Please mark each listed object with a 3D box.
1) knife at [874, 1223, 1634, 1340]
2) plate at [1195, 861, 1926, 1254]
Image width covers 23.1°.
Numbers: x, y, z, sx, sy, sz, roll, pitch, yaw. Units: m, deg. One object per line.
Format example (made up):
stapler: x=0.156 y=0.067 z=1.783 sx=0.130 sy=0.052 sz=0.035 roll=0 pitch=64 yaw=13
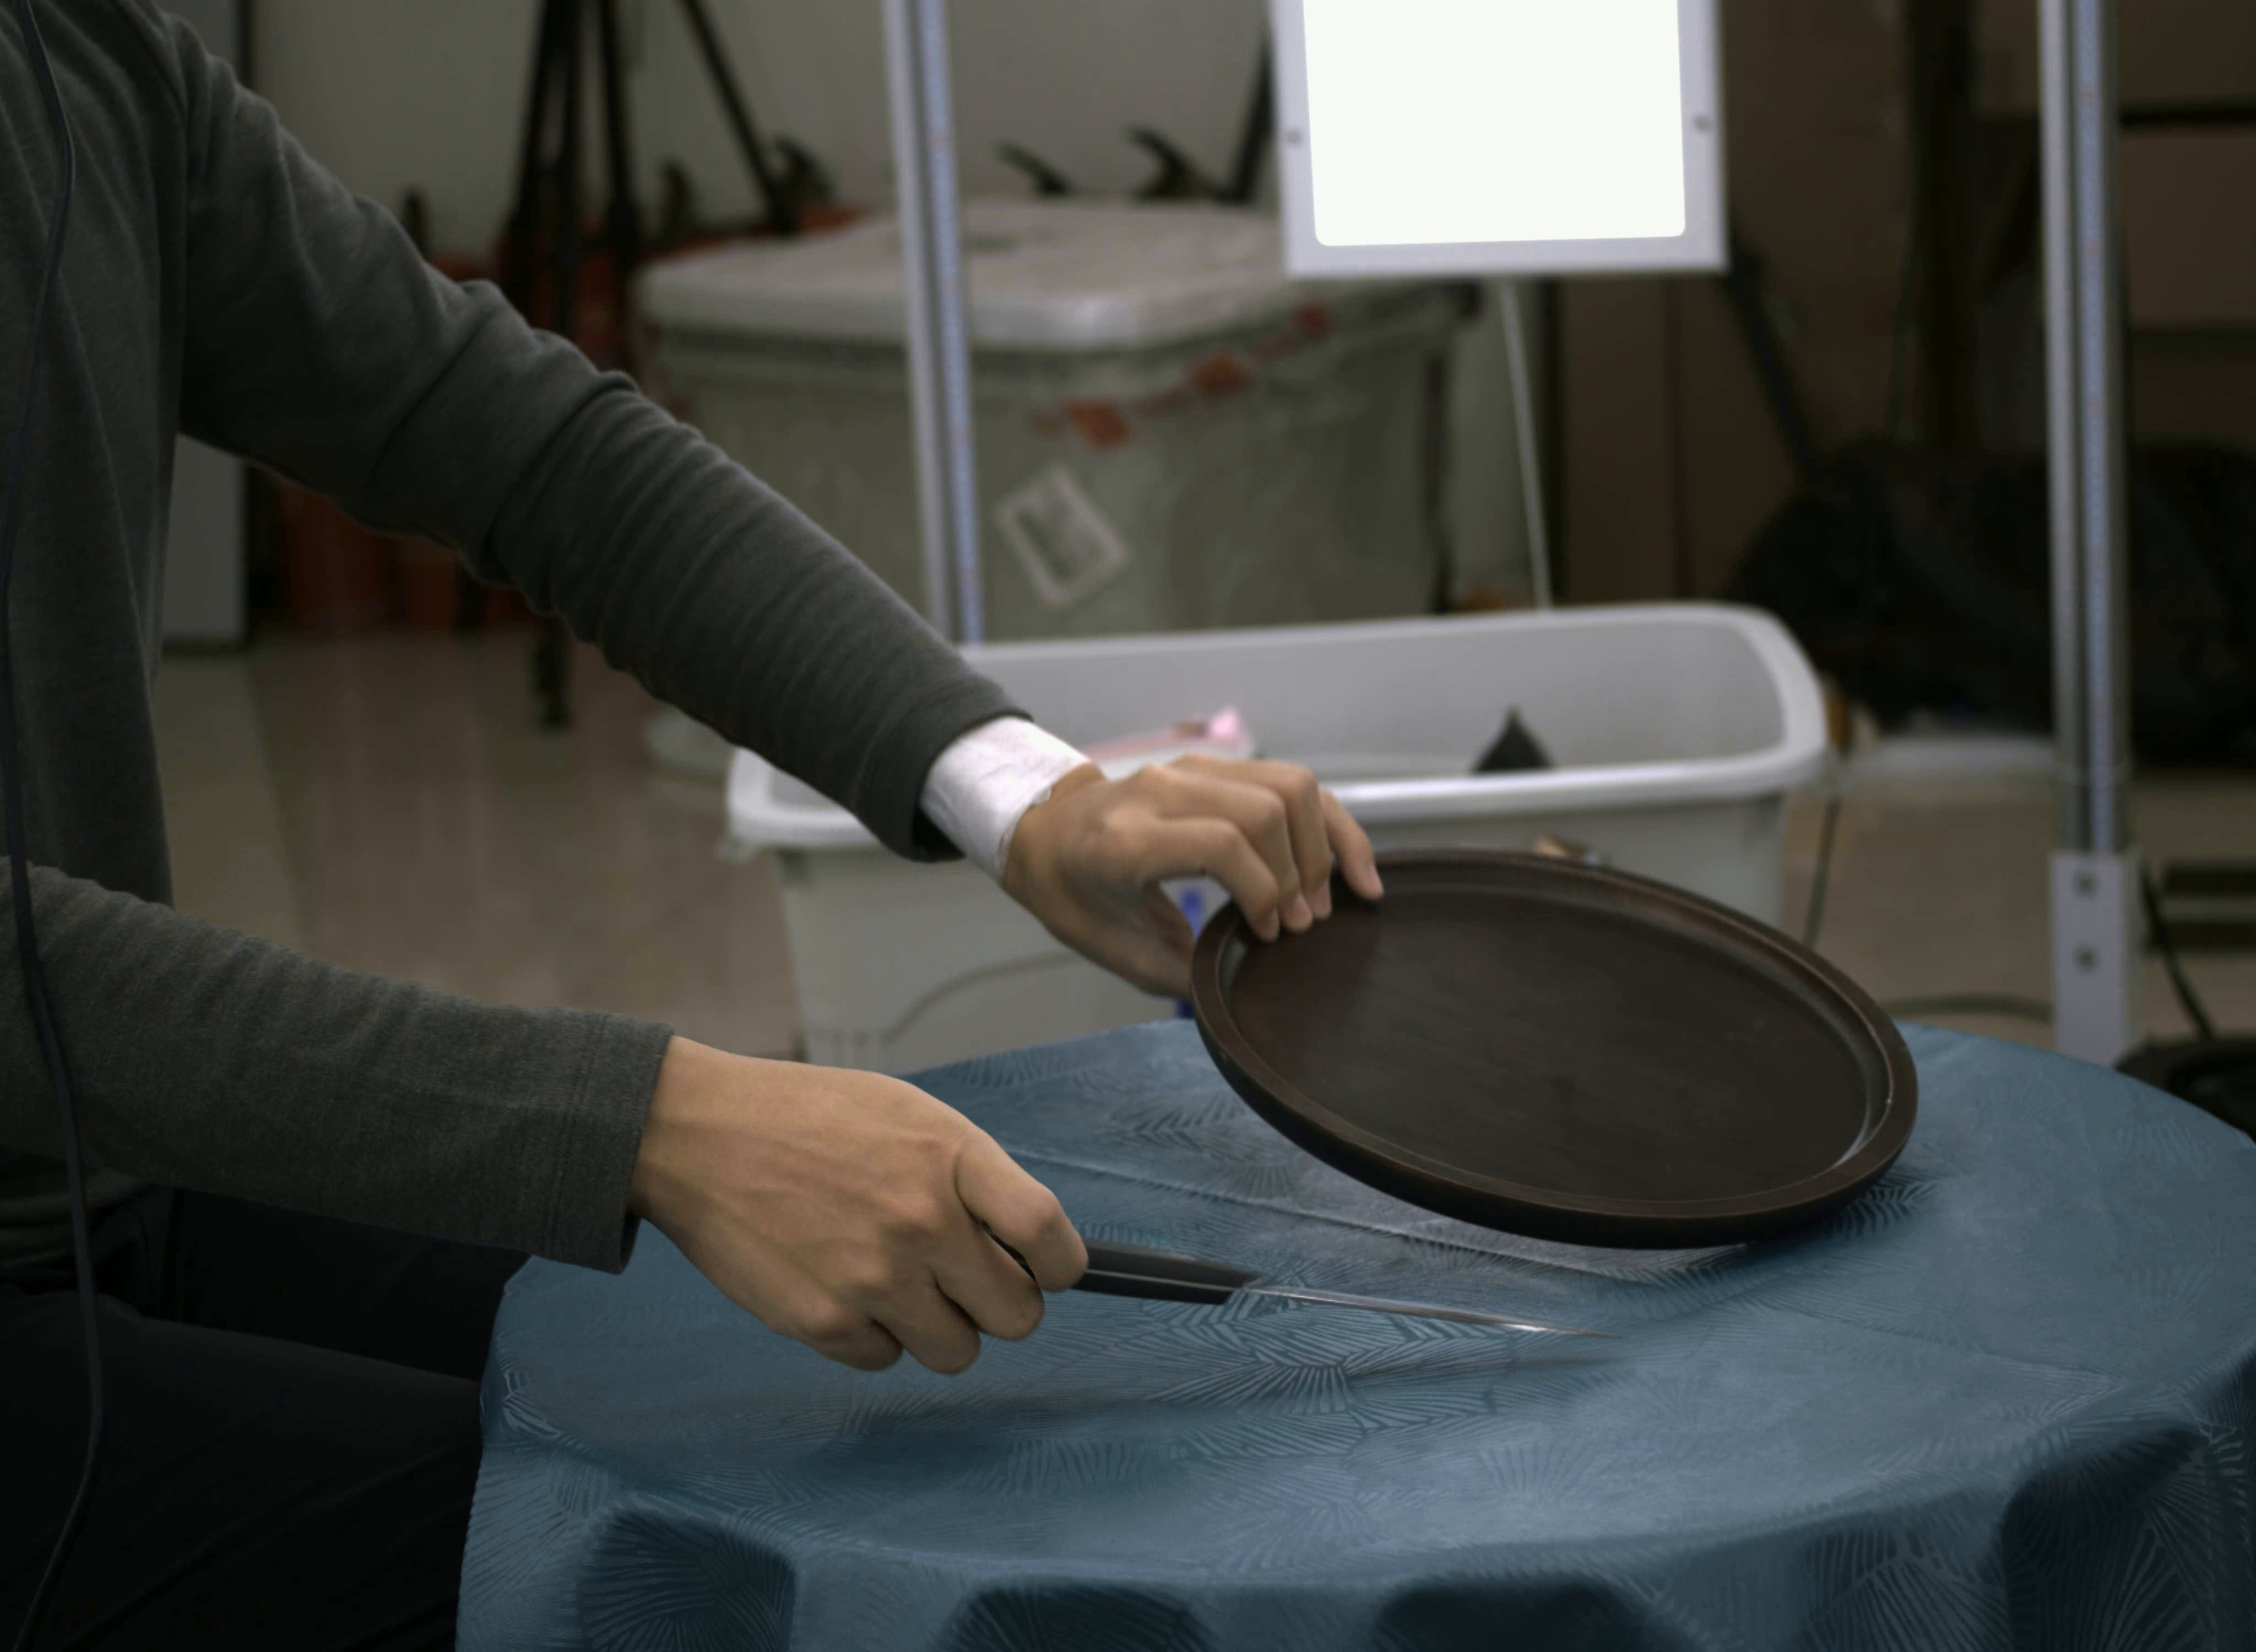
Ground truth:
knife: x=0.040 y=0.144 z=1.698 sx=0.237 sy=0.016 sz=0.024 roll=7 pitch=6 yaw=1
plate: x=0.146 y=0.076 z=1.868 sx=0.253 sy=0.029 sz=0.254 roll=7 pitch=26 yaw=-5
